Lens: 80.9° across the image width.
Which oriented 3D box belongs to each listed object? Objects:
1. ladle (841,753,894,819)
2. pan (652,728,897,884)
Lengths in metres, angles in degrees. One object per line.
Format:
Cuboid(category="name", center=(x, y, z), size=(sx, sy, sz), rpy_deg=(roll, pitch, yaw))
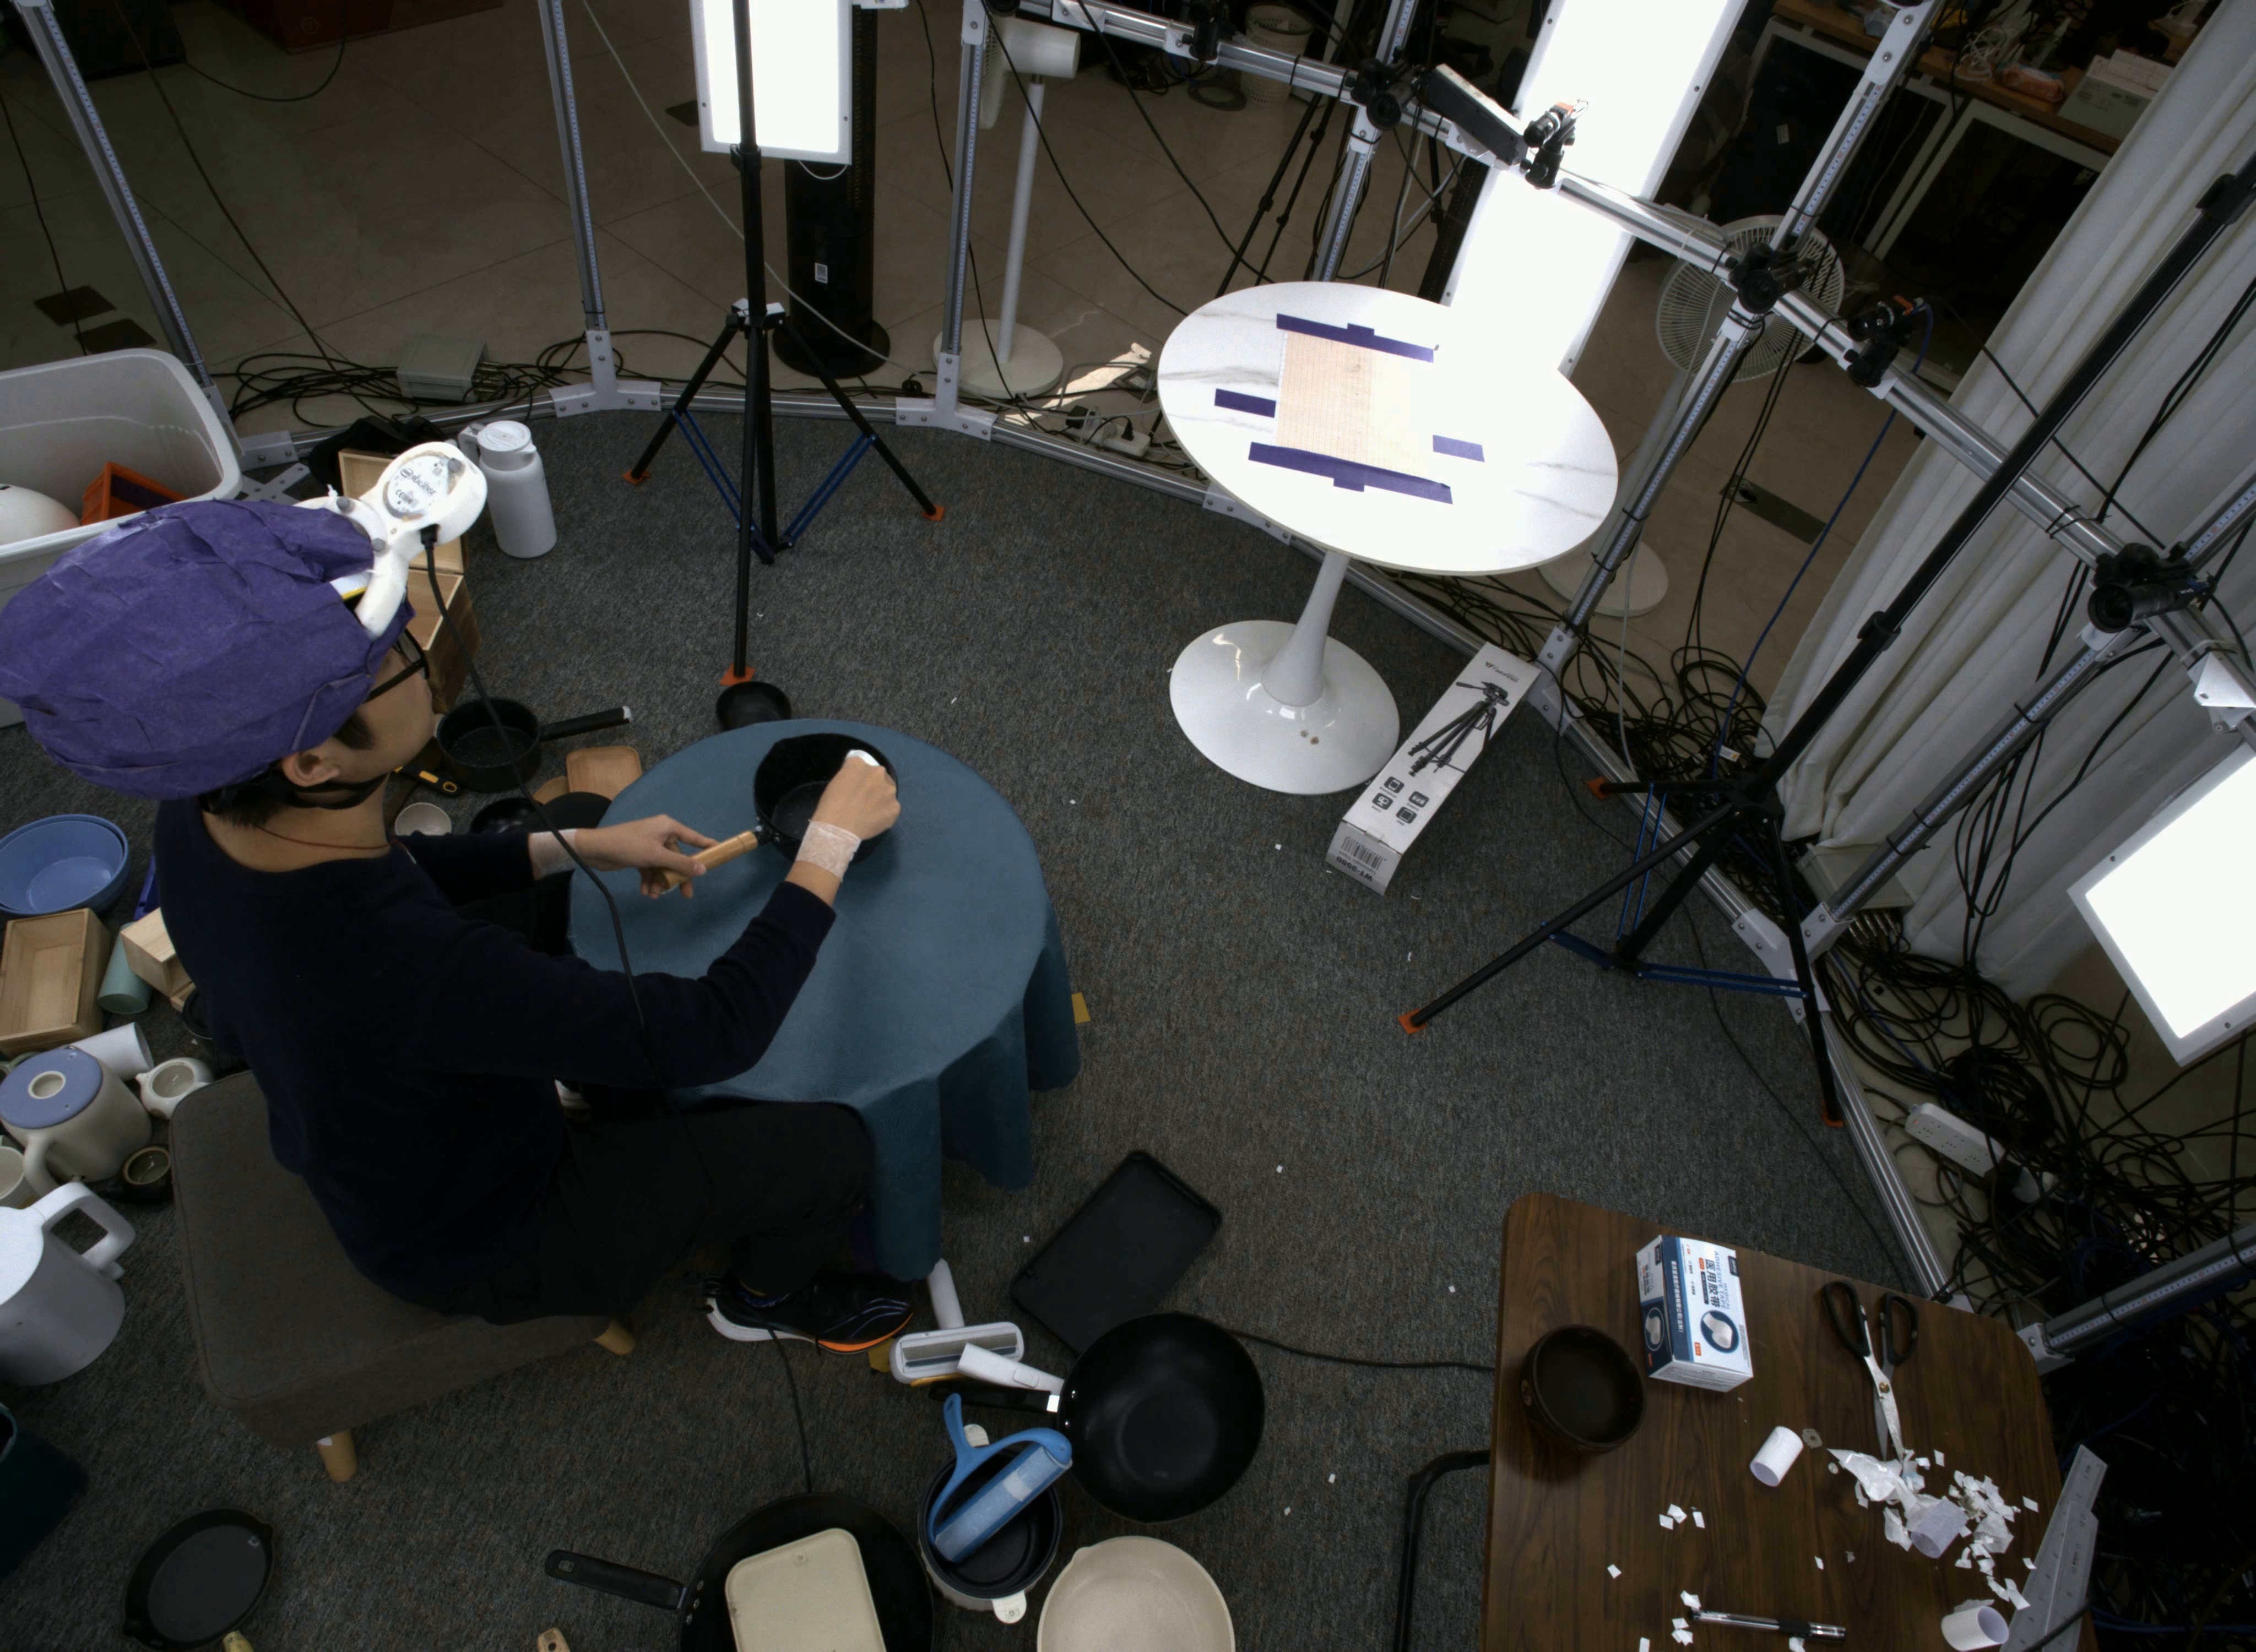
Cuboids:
Cuboid(category="ladle", center=(-0.310, -0.047, 1.571), size=(0.070, 0.288, 0.092), rpy_deg=(-24, 97, -14))
Cuboid(category="pan", center=(-0.446, 0.004, 1.634), size=(0.203, 0.110, 0.343), rpy_deg=(41, 53, 15))
